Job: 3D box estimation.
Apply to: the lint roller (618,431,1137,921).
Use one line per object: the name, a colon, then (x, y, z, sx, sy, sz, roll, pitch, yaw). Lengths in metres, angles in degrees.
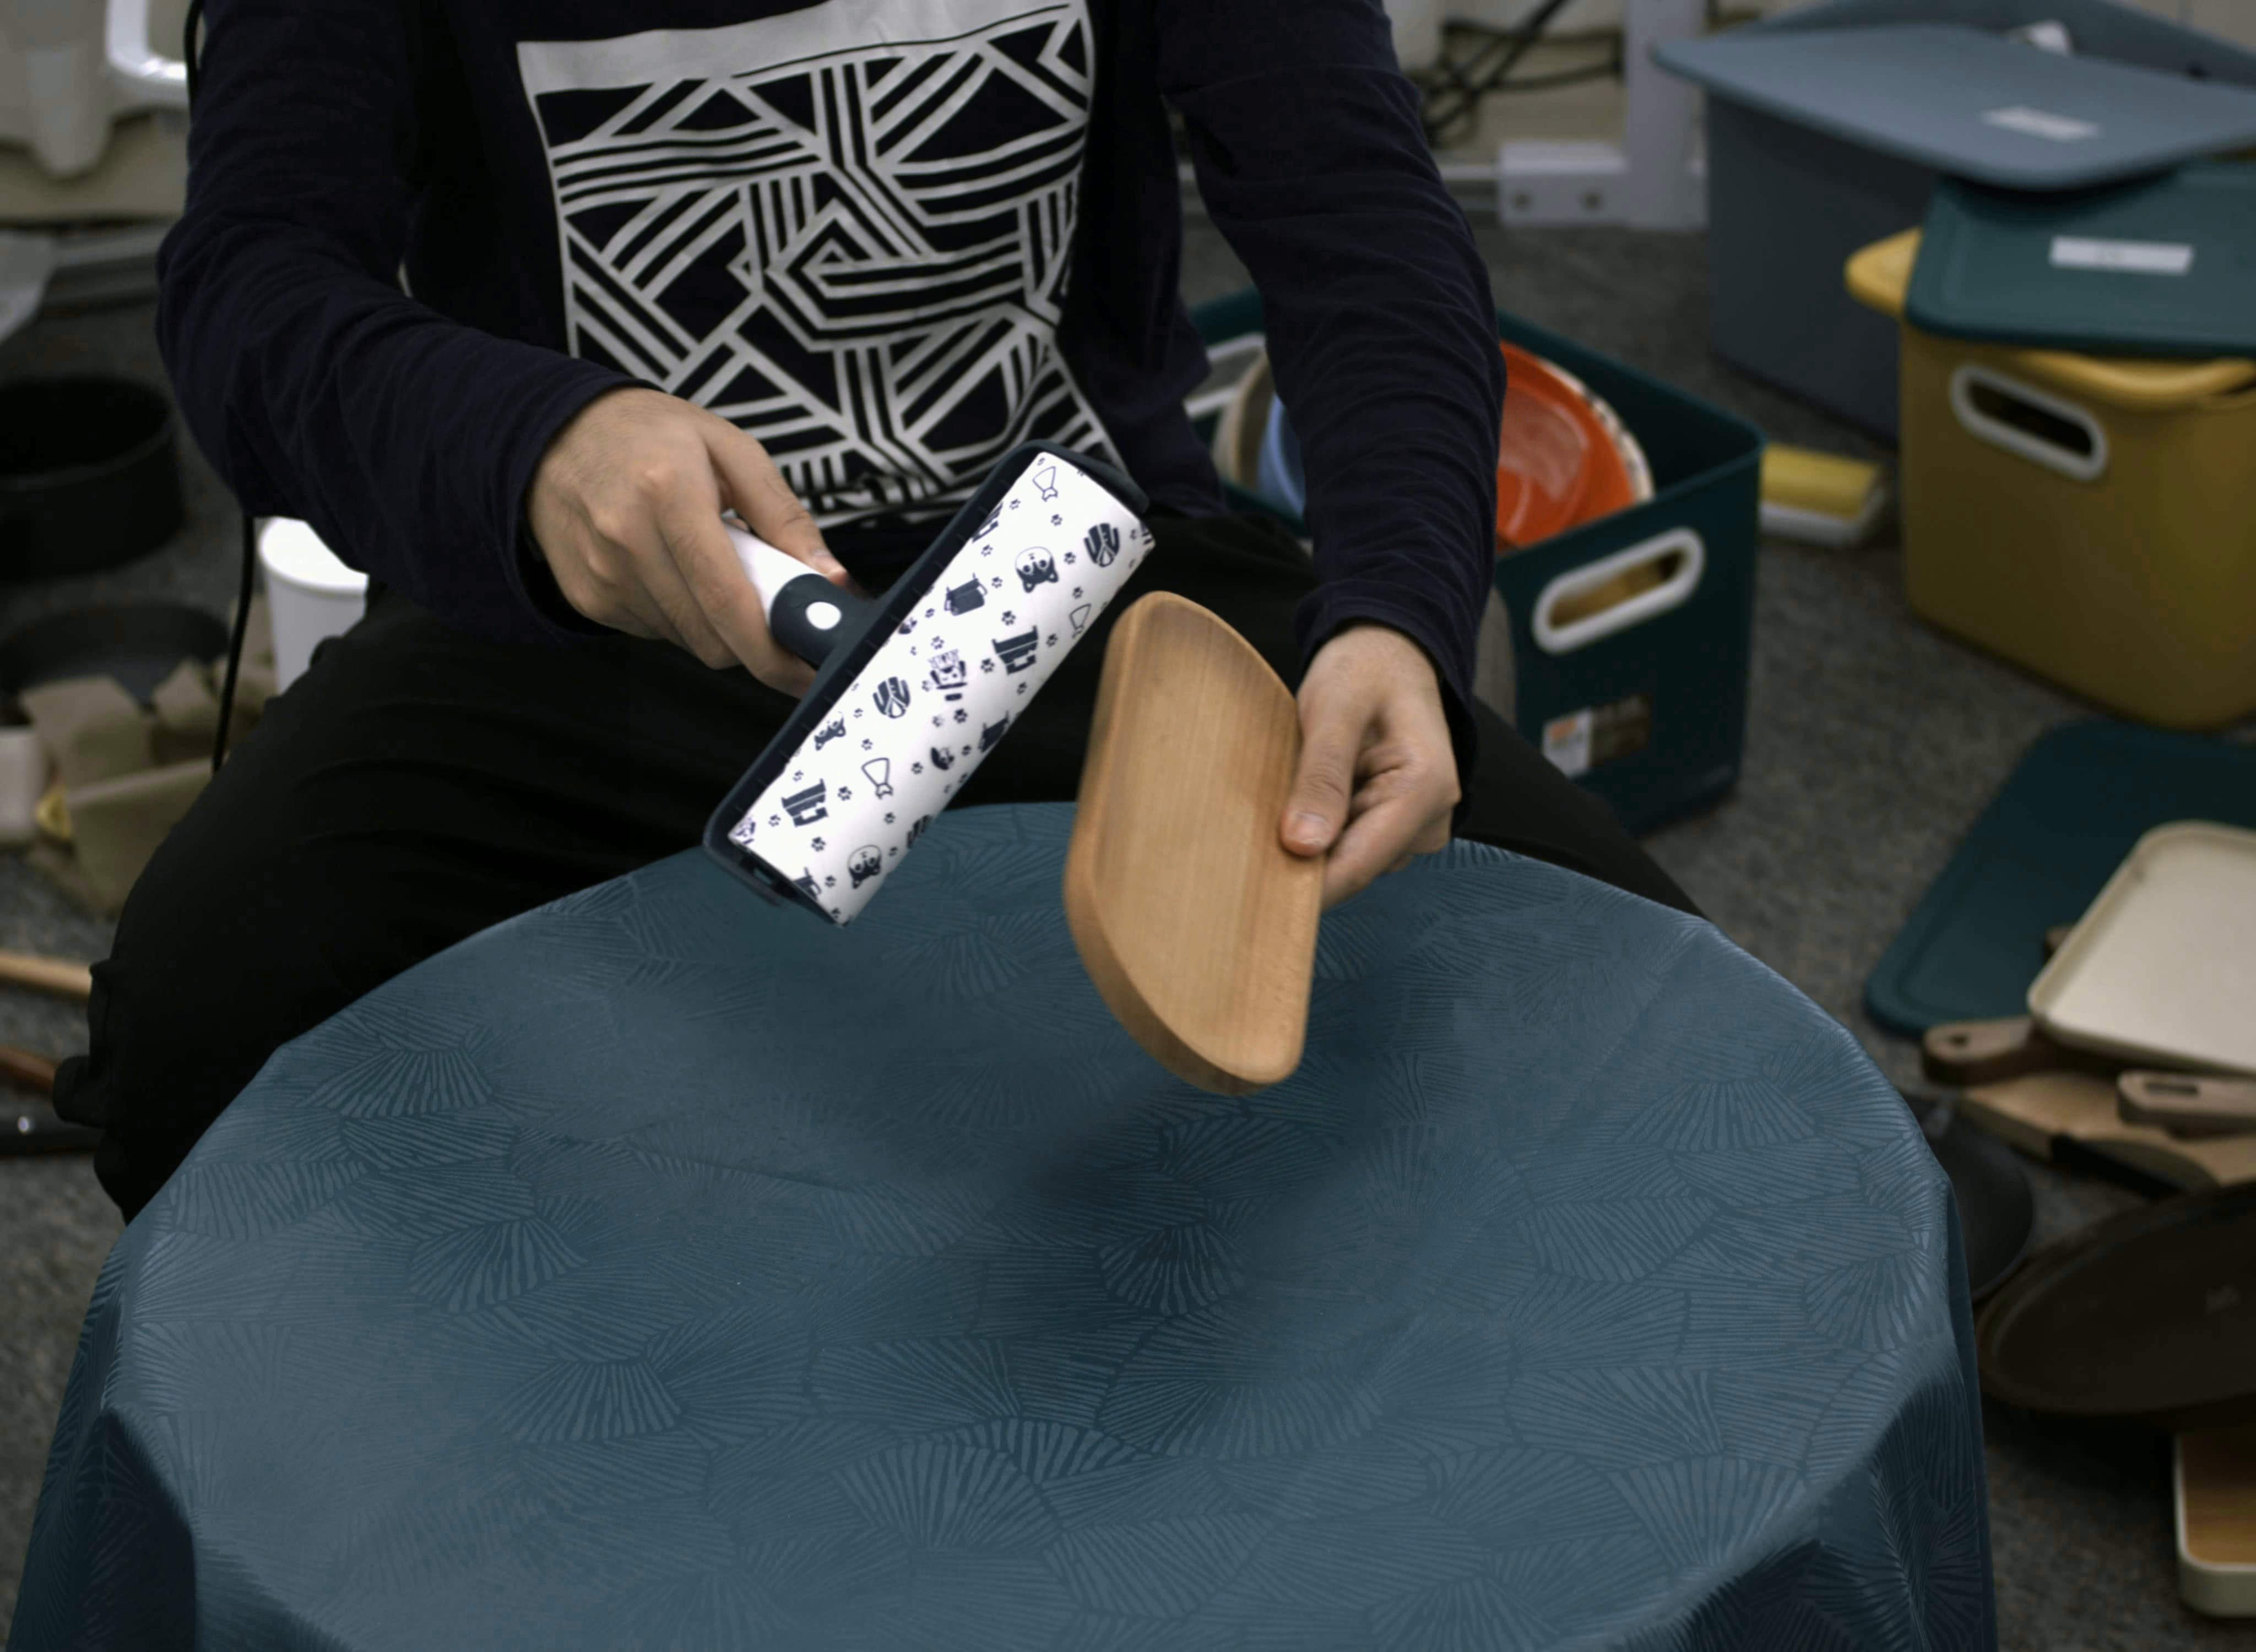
lint roller: (-0.115, -0.074, 1.871, 0.177, 0.050, 0.247, -52, 36, -8)

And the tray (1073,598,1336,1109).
tray: (0.025, 0.007, 1.826, 0.020, 0.101, 0.235, -38, 23, 28)
